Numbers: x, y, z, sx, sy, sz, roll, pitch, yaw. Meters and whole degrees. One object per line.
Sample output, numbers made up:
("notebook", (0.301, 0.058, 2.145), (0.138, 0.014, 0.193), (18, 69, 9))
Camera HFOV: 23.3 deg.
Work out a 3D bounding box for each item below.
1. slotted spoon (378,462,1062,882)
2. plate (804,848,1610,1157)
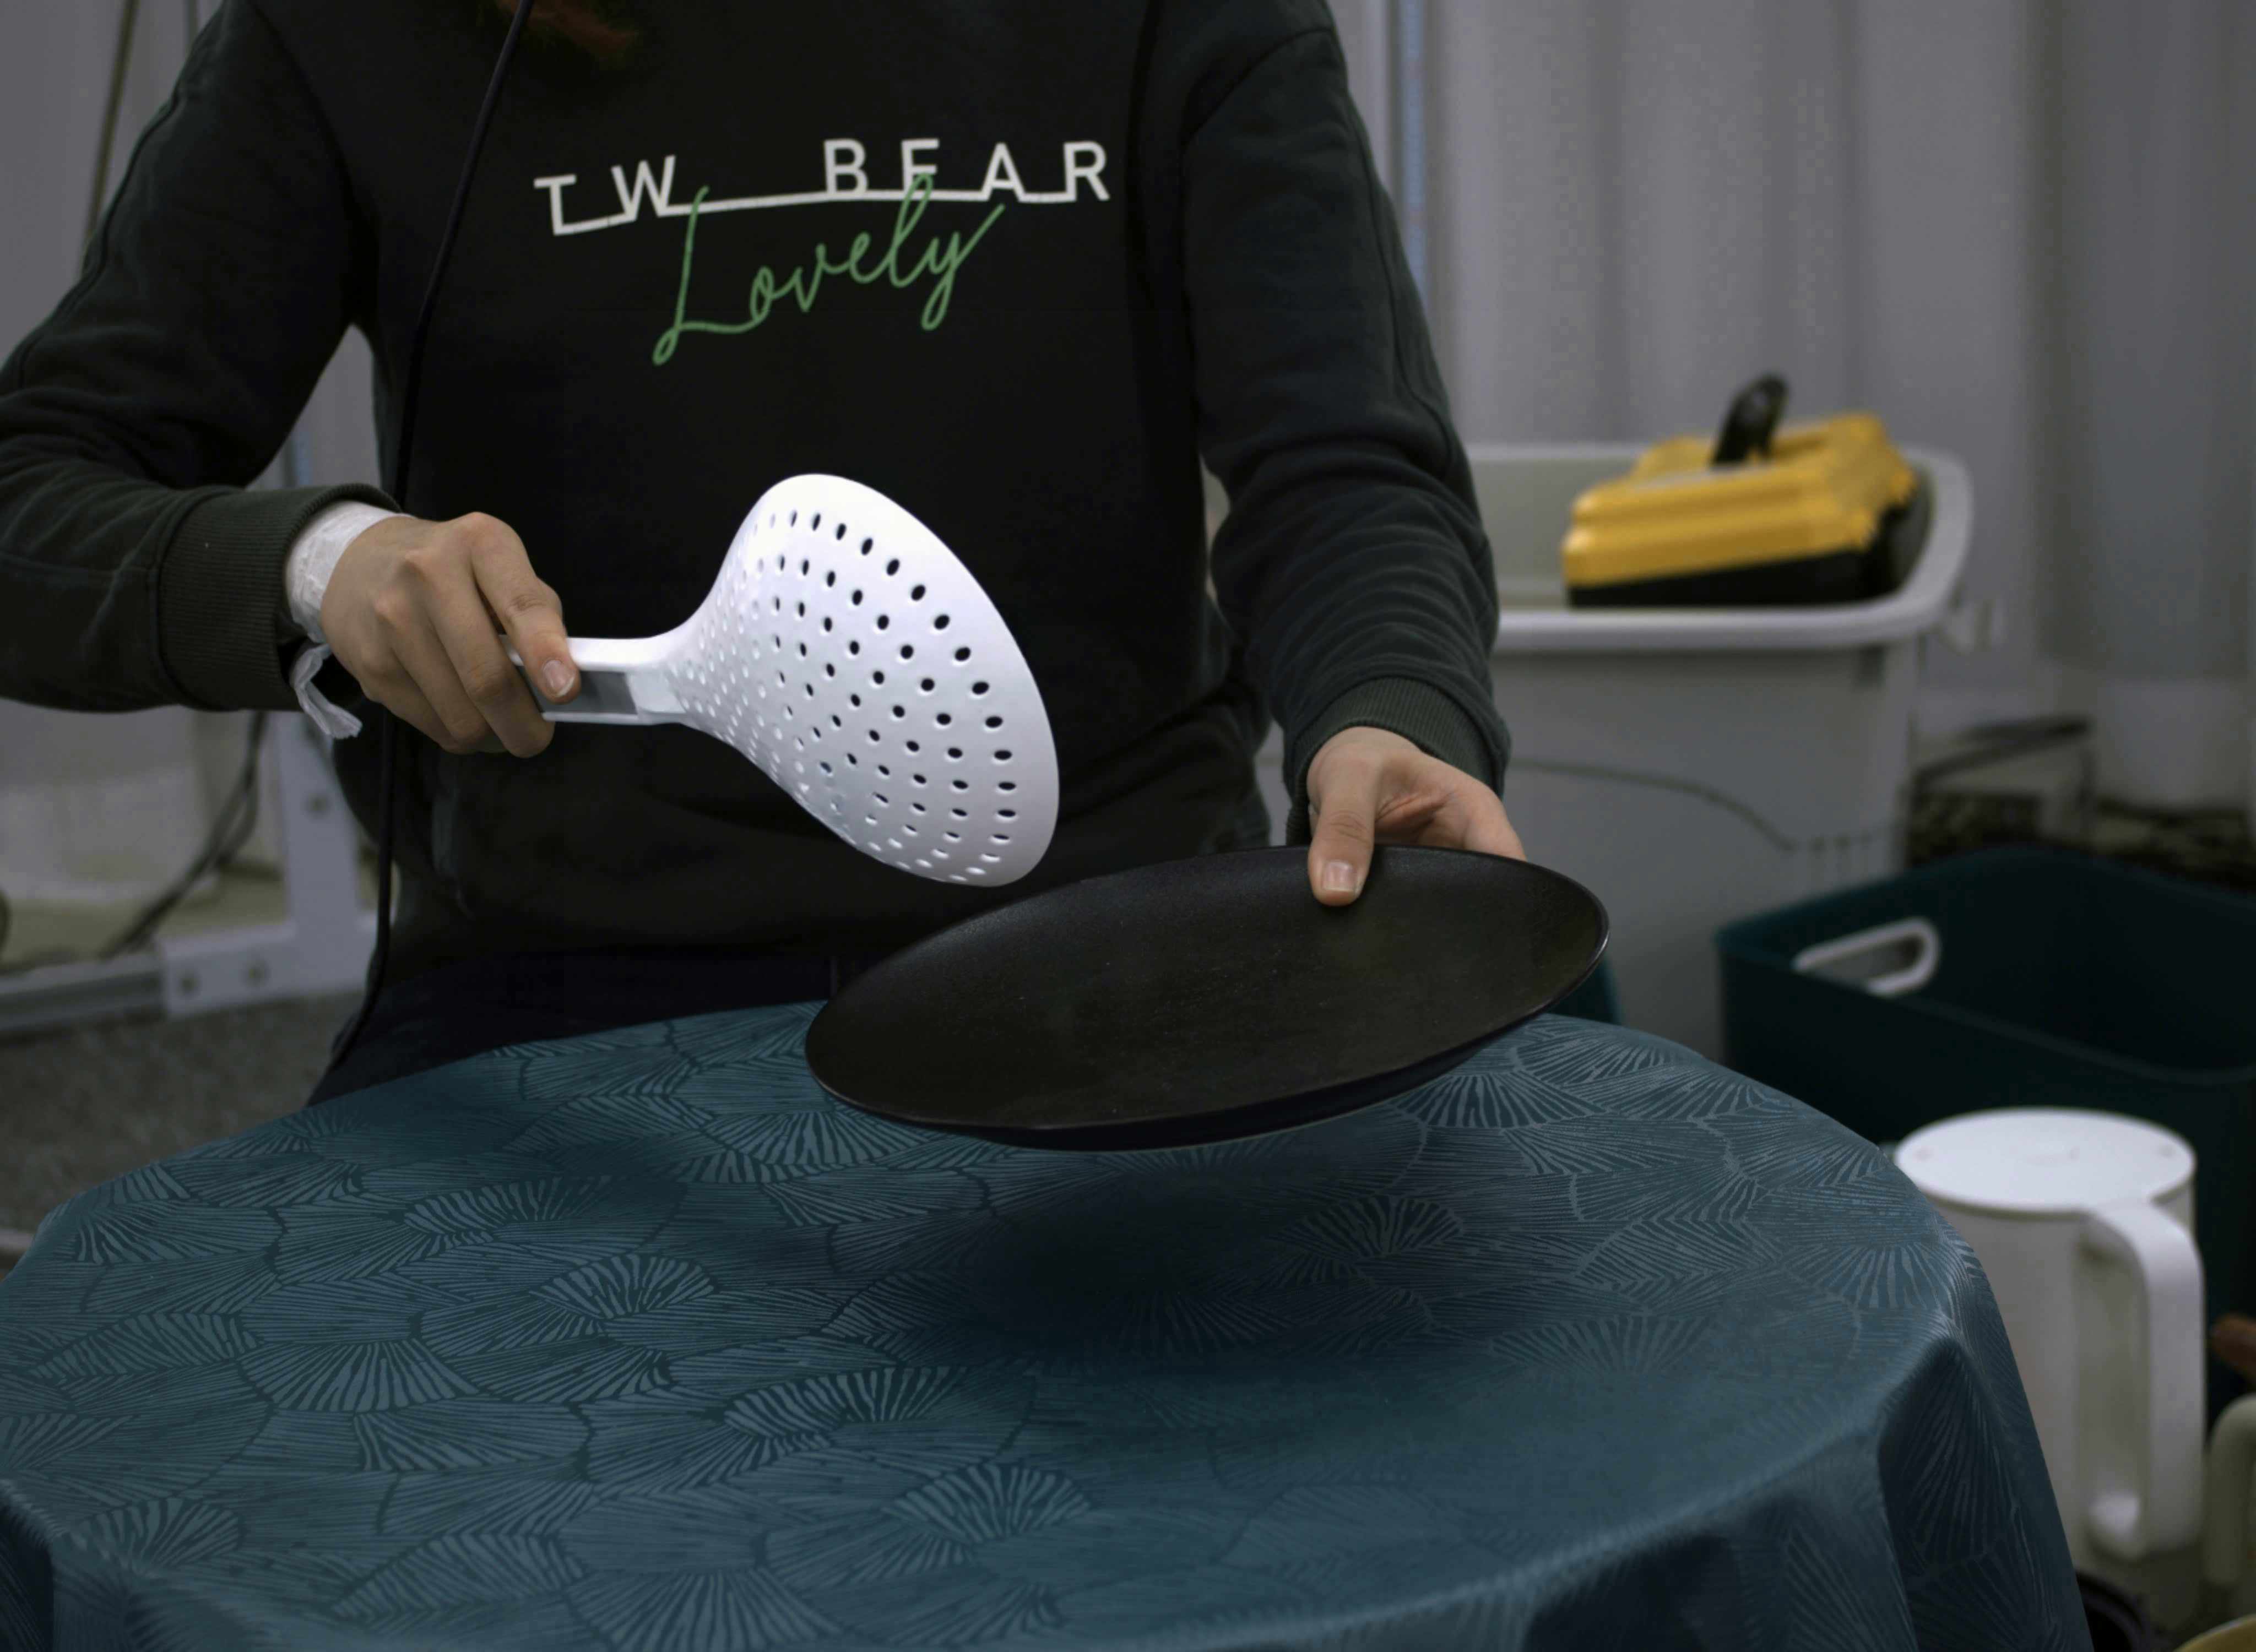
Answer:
("slotted spoon", (-0.138, -0.045, 1.697), (0.046, 0.135, 0.351), (-29, 19, -28))
("plate", (0.025, 0.055, 1.634), (0.243, 0.023, 0.246), (-9, 16, 2))
